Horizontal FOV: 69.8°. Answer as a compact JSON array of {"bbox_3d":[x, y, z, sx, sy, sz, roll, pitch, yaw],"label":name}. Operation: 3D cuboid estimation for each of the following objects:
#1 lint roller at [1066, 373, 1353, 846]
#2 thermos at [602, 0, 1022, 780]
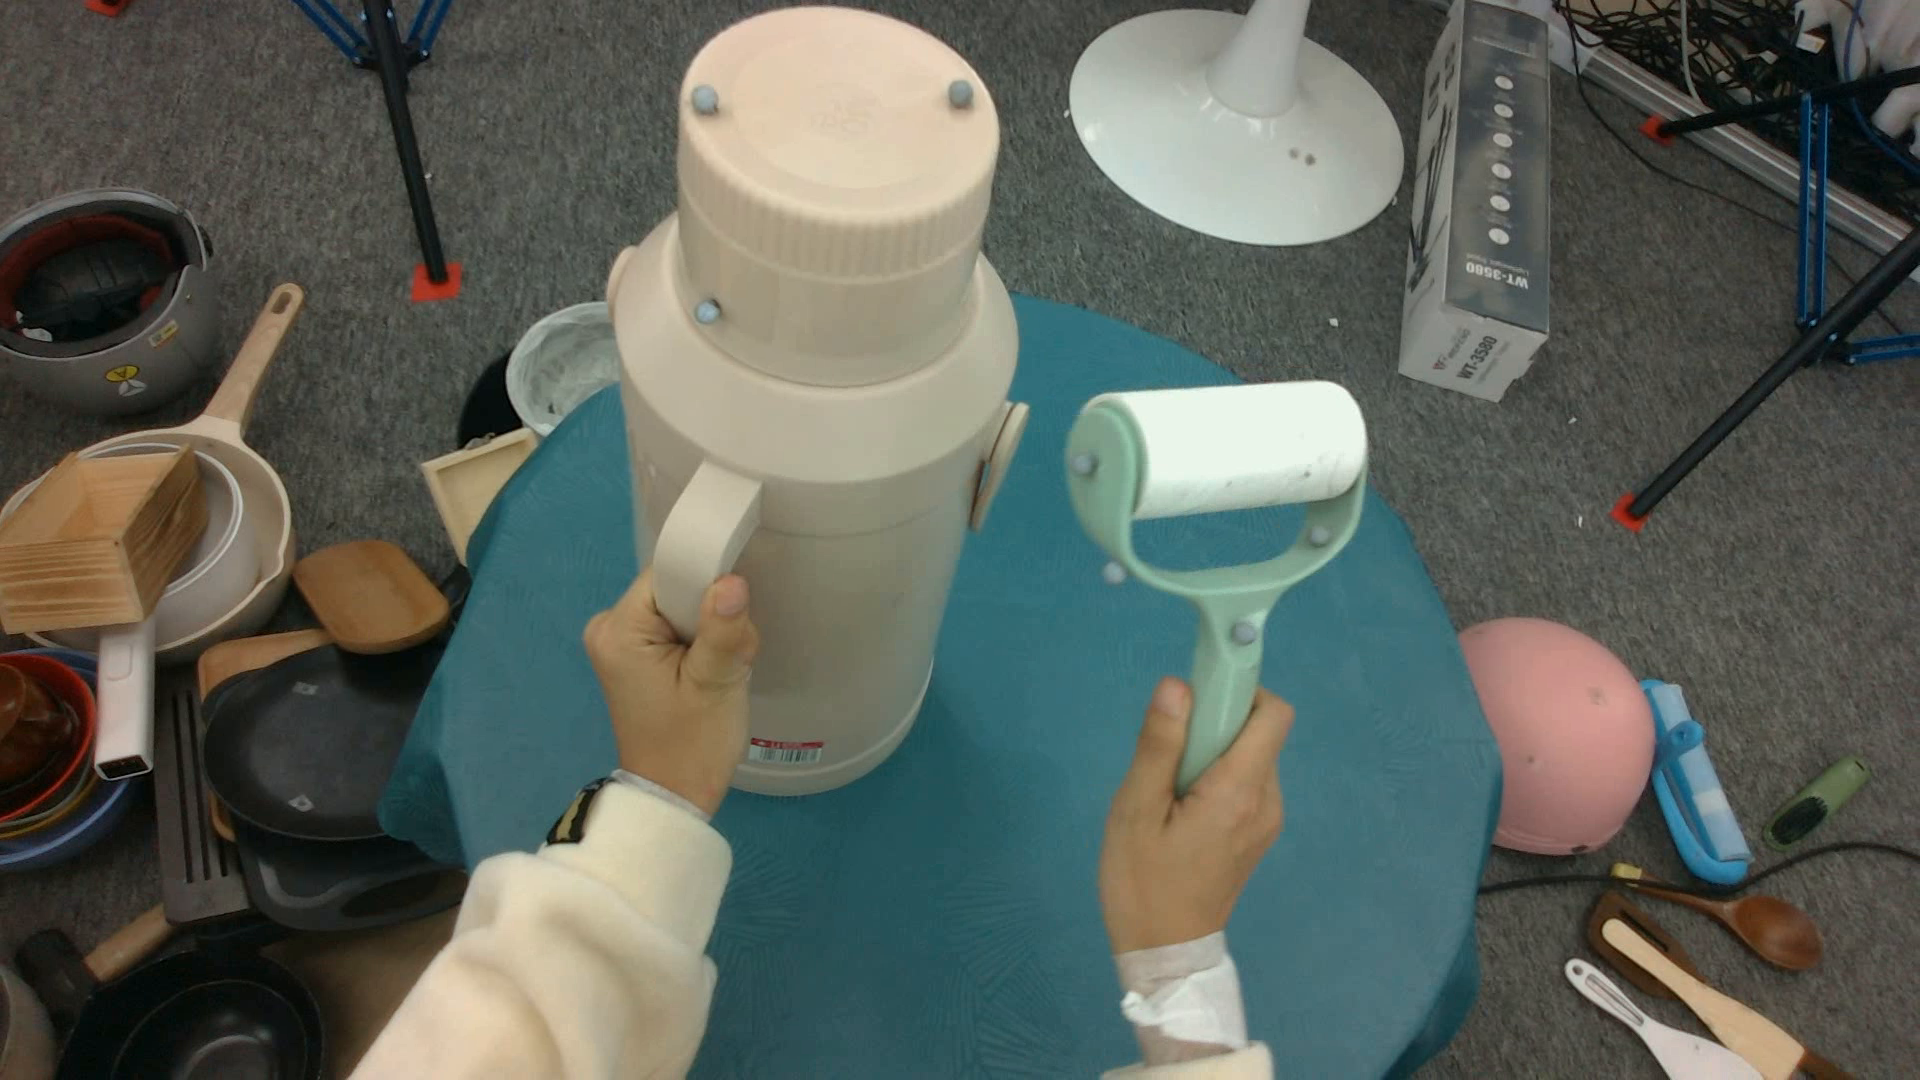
[{"bbox_3d":[0.094,0.032,0.543,0.117,0.197,0.048,-3,11,-30],"label":"lint roller"},{"bbox_3d":[-0.077,-0.031,0.608,0.175,0.404,0.208,22,57,4],"label":"thermos"}]
